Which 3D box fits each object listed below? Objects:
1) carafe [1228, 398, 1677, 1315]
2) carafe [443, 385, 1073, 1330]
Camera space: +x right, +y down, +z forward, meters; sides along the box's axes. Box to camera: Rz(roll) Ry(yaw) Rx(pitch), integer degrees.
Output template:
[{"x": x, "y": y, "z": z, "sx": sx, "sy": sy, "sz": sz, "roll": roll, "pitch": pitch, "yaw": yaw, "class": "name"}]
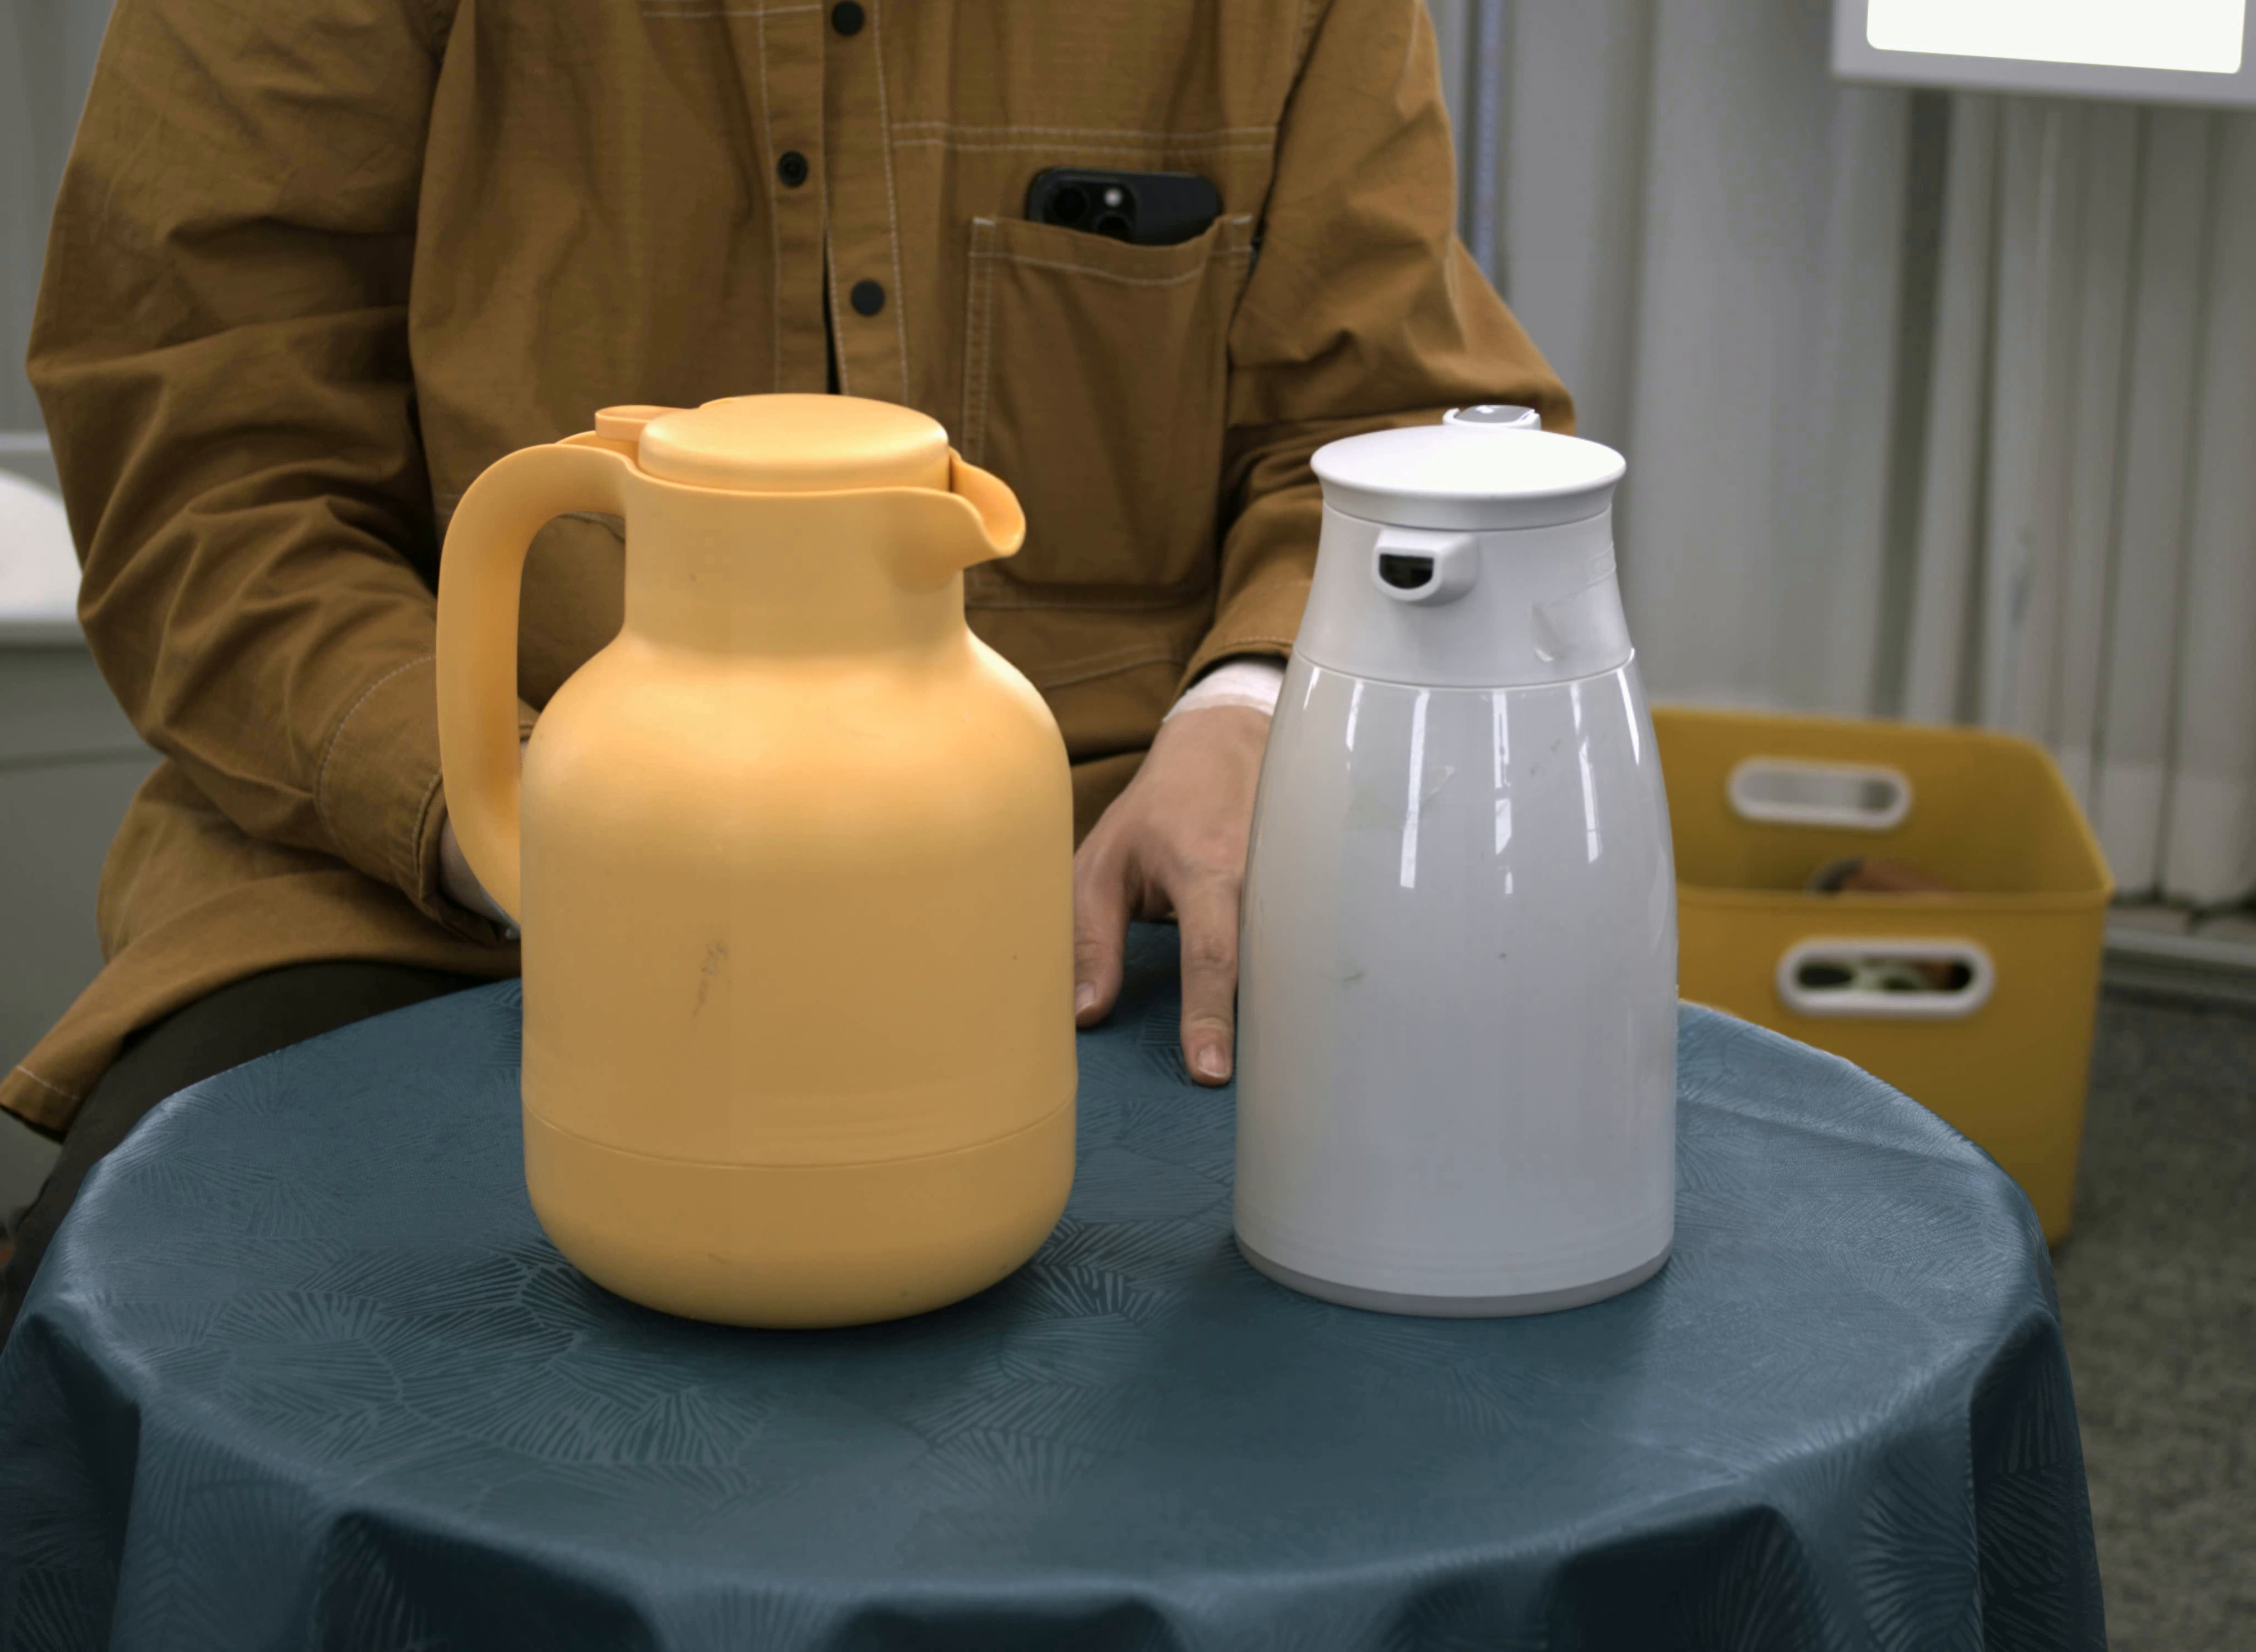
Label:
[{"x": 0.102, "y": 0.000, "z": 1.564, "sx": 0.131, "sy": 0.250, "sz": 0.168, "roll": 5, "pitch": 16, "yaw": 17, "class": "carafe"}, {"x": -0.112, "y": 0.002, "z": 1.531, "sx": 0.200, "sy": 0.262, "sz": 0.164, "roll": 12, "pitch": 18, "yaw": 31, "class": "carafe"}]
